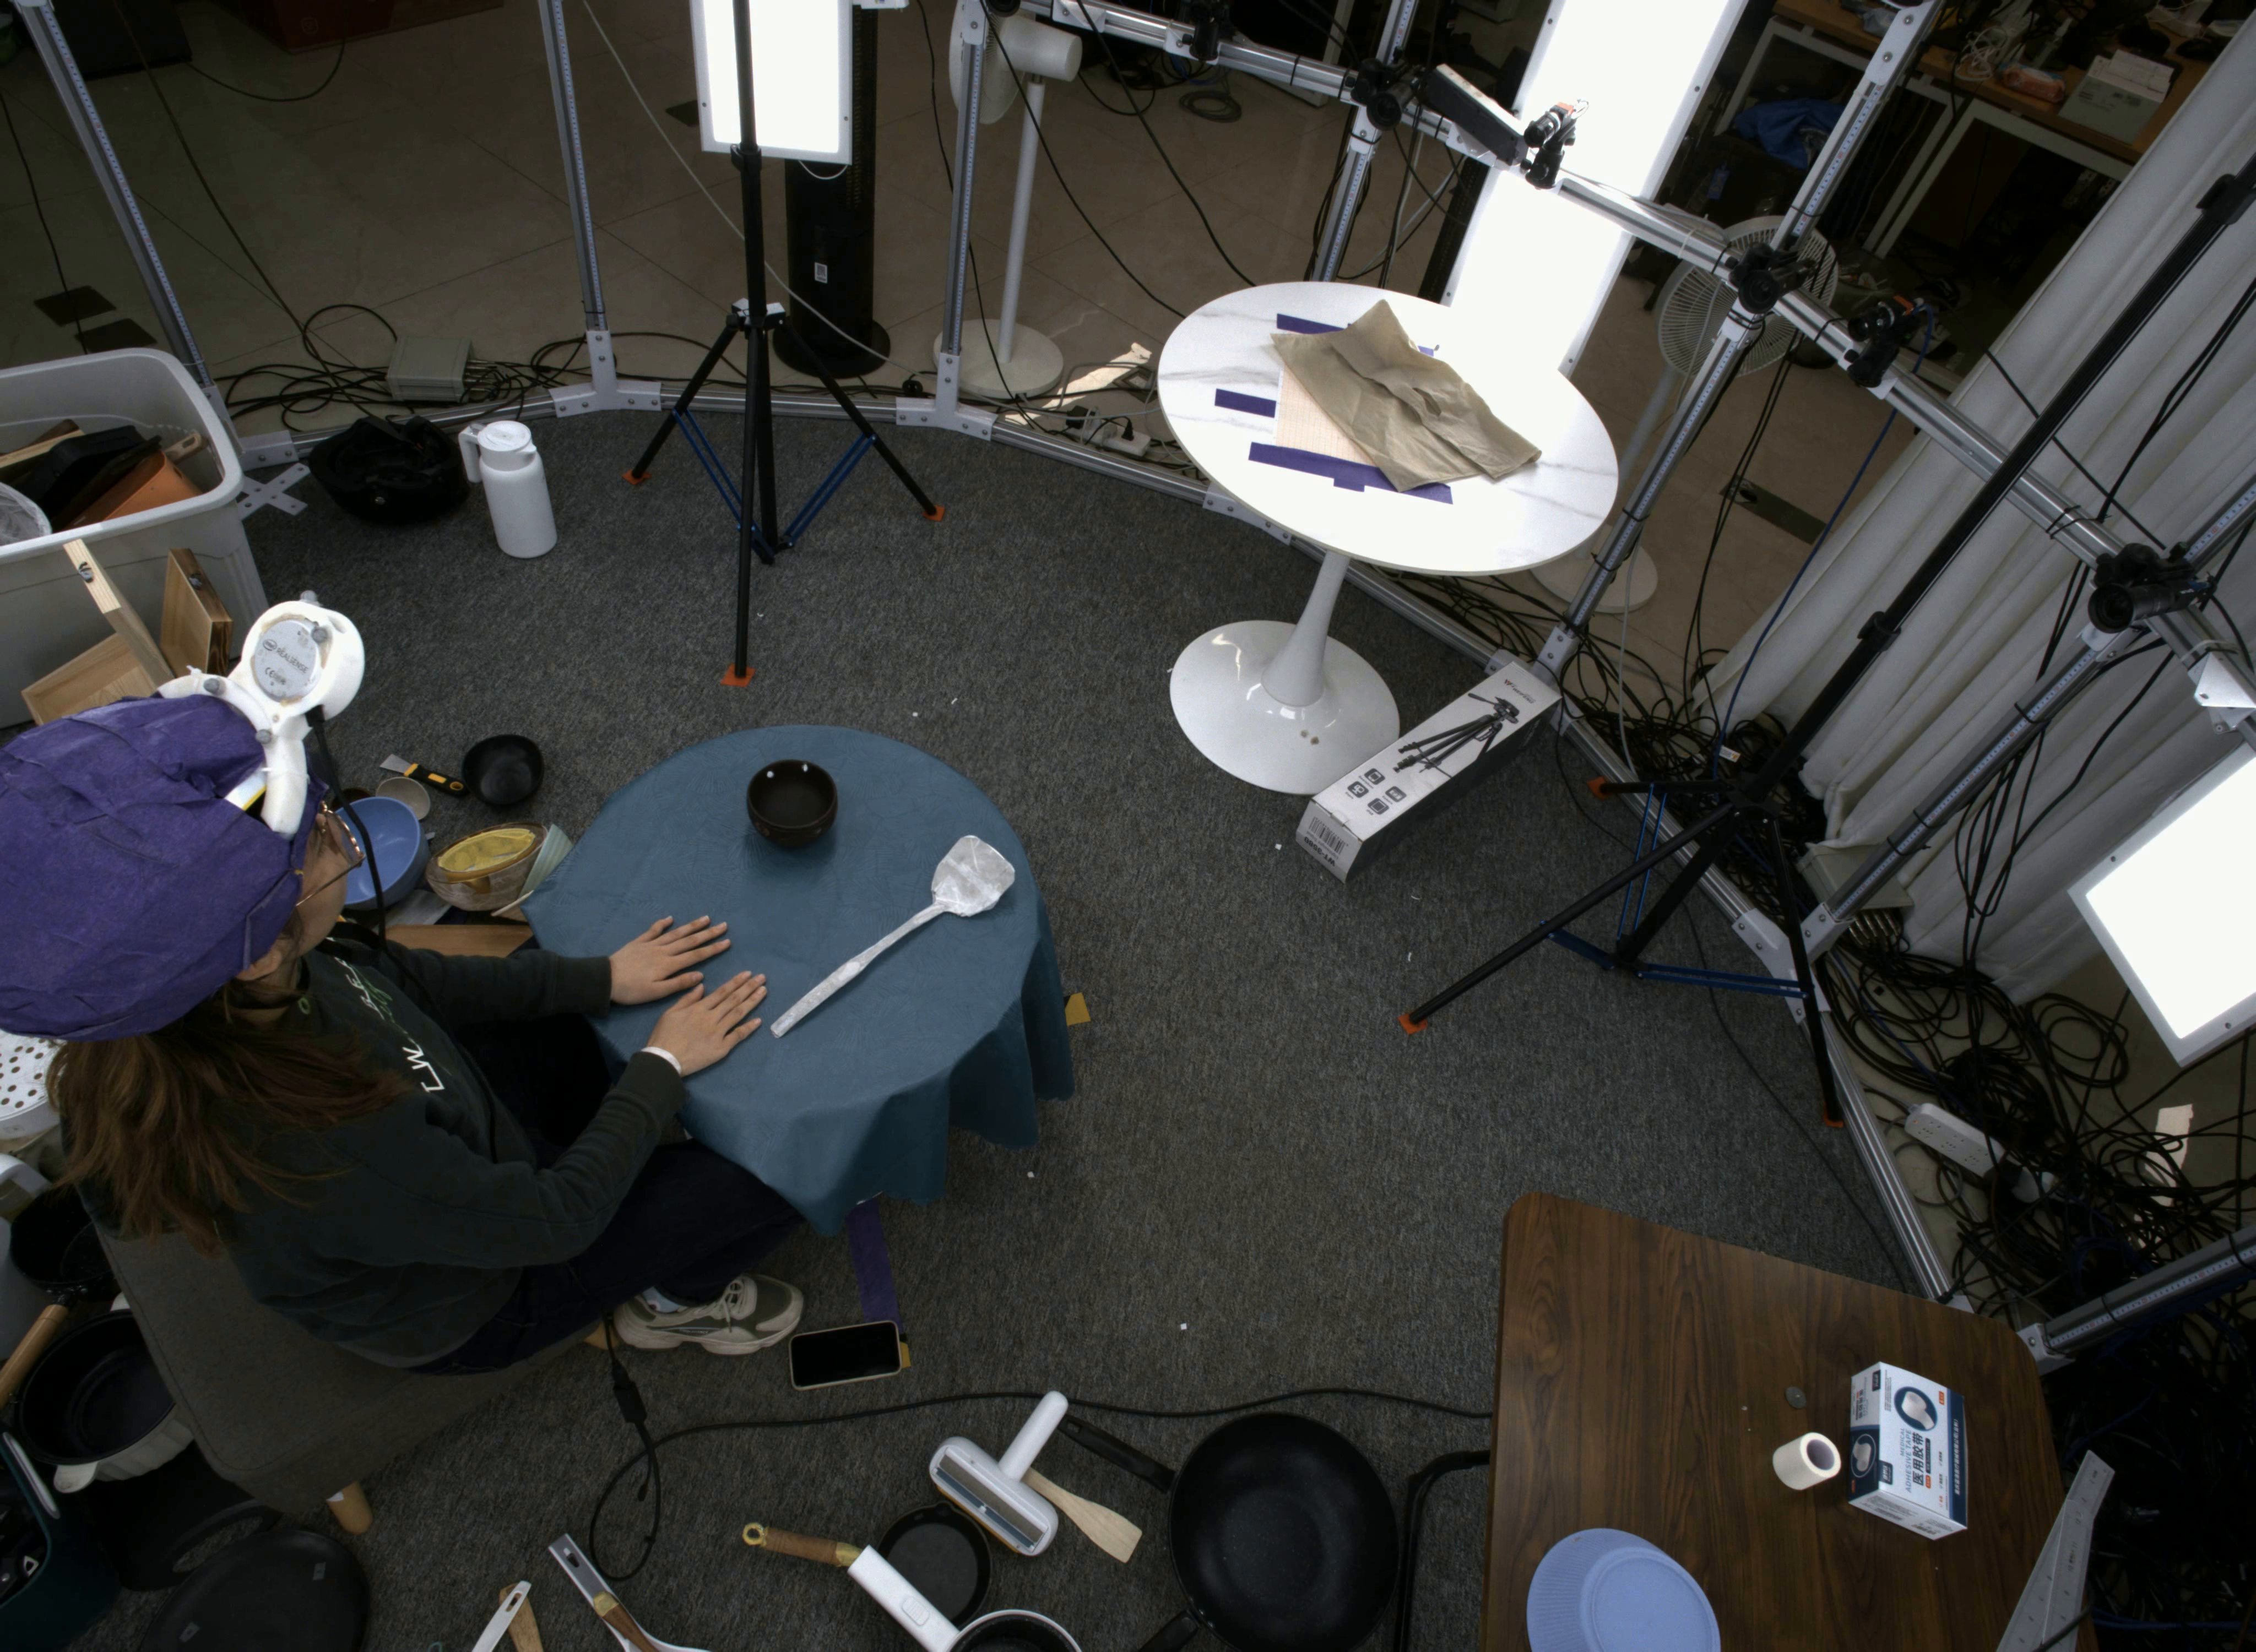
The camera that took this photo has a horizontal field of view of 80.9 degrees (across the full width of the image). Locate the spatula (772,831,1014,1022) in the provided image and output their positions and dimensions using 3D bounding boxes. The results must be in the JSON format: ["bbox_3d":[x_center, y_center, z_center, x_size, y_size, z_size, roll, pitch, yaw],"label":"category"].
[{"bbox_3d":[-0.297,0.132,1.638,0.097,0.045,0.365,42,55,15],"label":"spatula"}]

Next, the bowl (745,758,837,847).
[{"bbox_3d":[-0.440,-0.024,1.697,0.117,0.071,0.116,6,53,-7],"label":"bowl"}]
